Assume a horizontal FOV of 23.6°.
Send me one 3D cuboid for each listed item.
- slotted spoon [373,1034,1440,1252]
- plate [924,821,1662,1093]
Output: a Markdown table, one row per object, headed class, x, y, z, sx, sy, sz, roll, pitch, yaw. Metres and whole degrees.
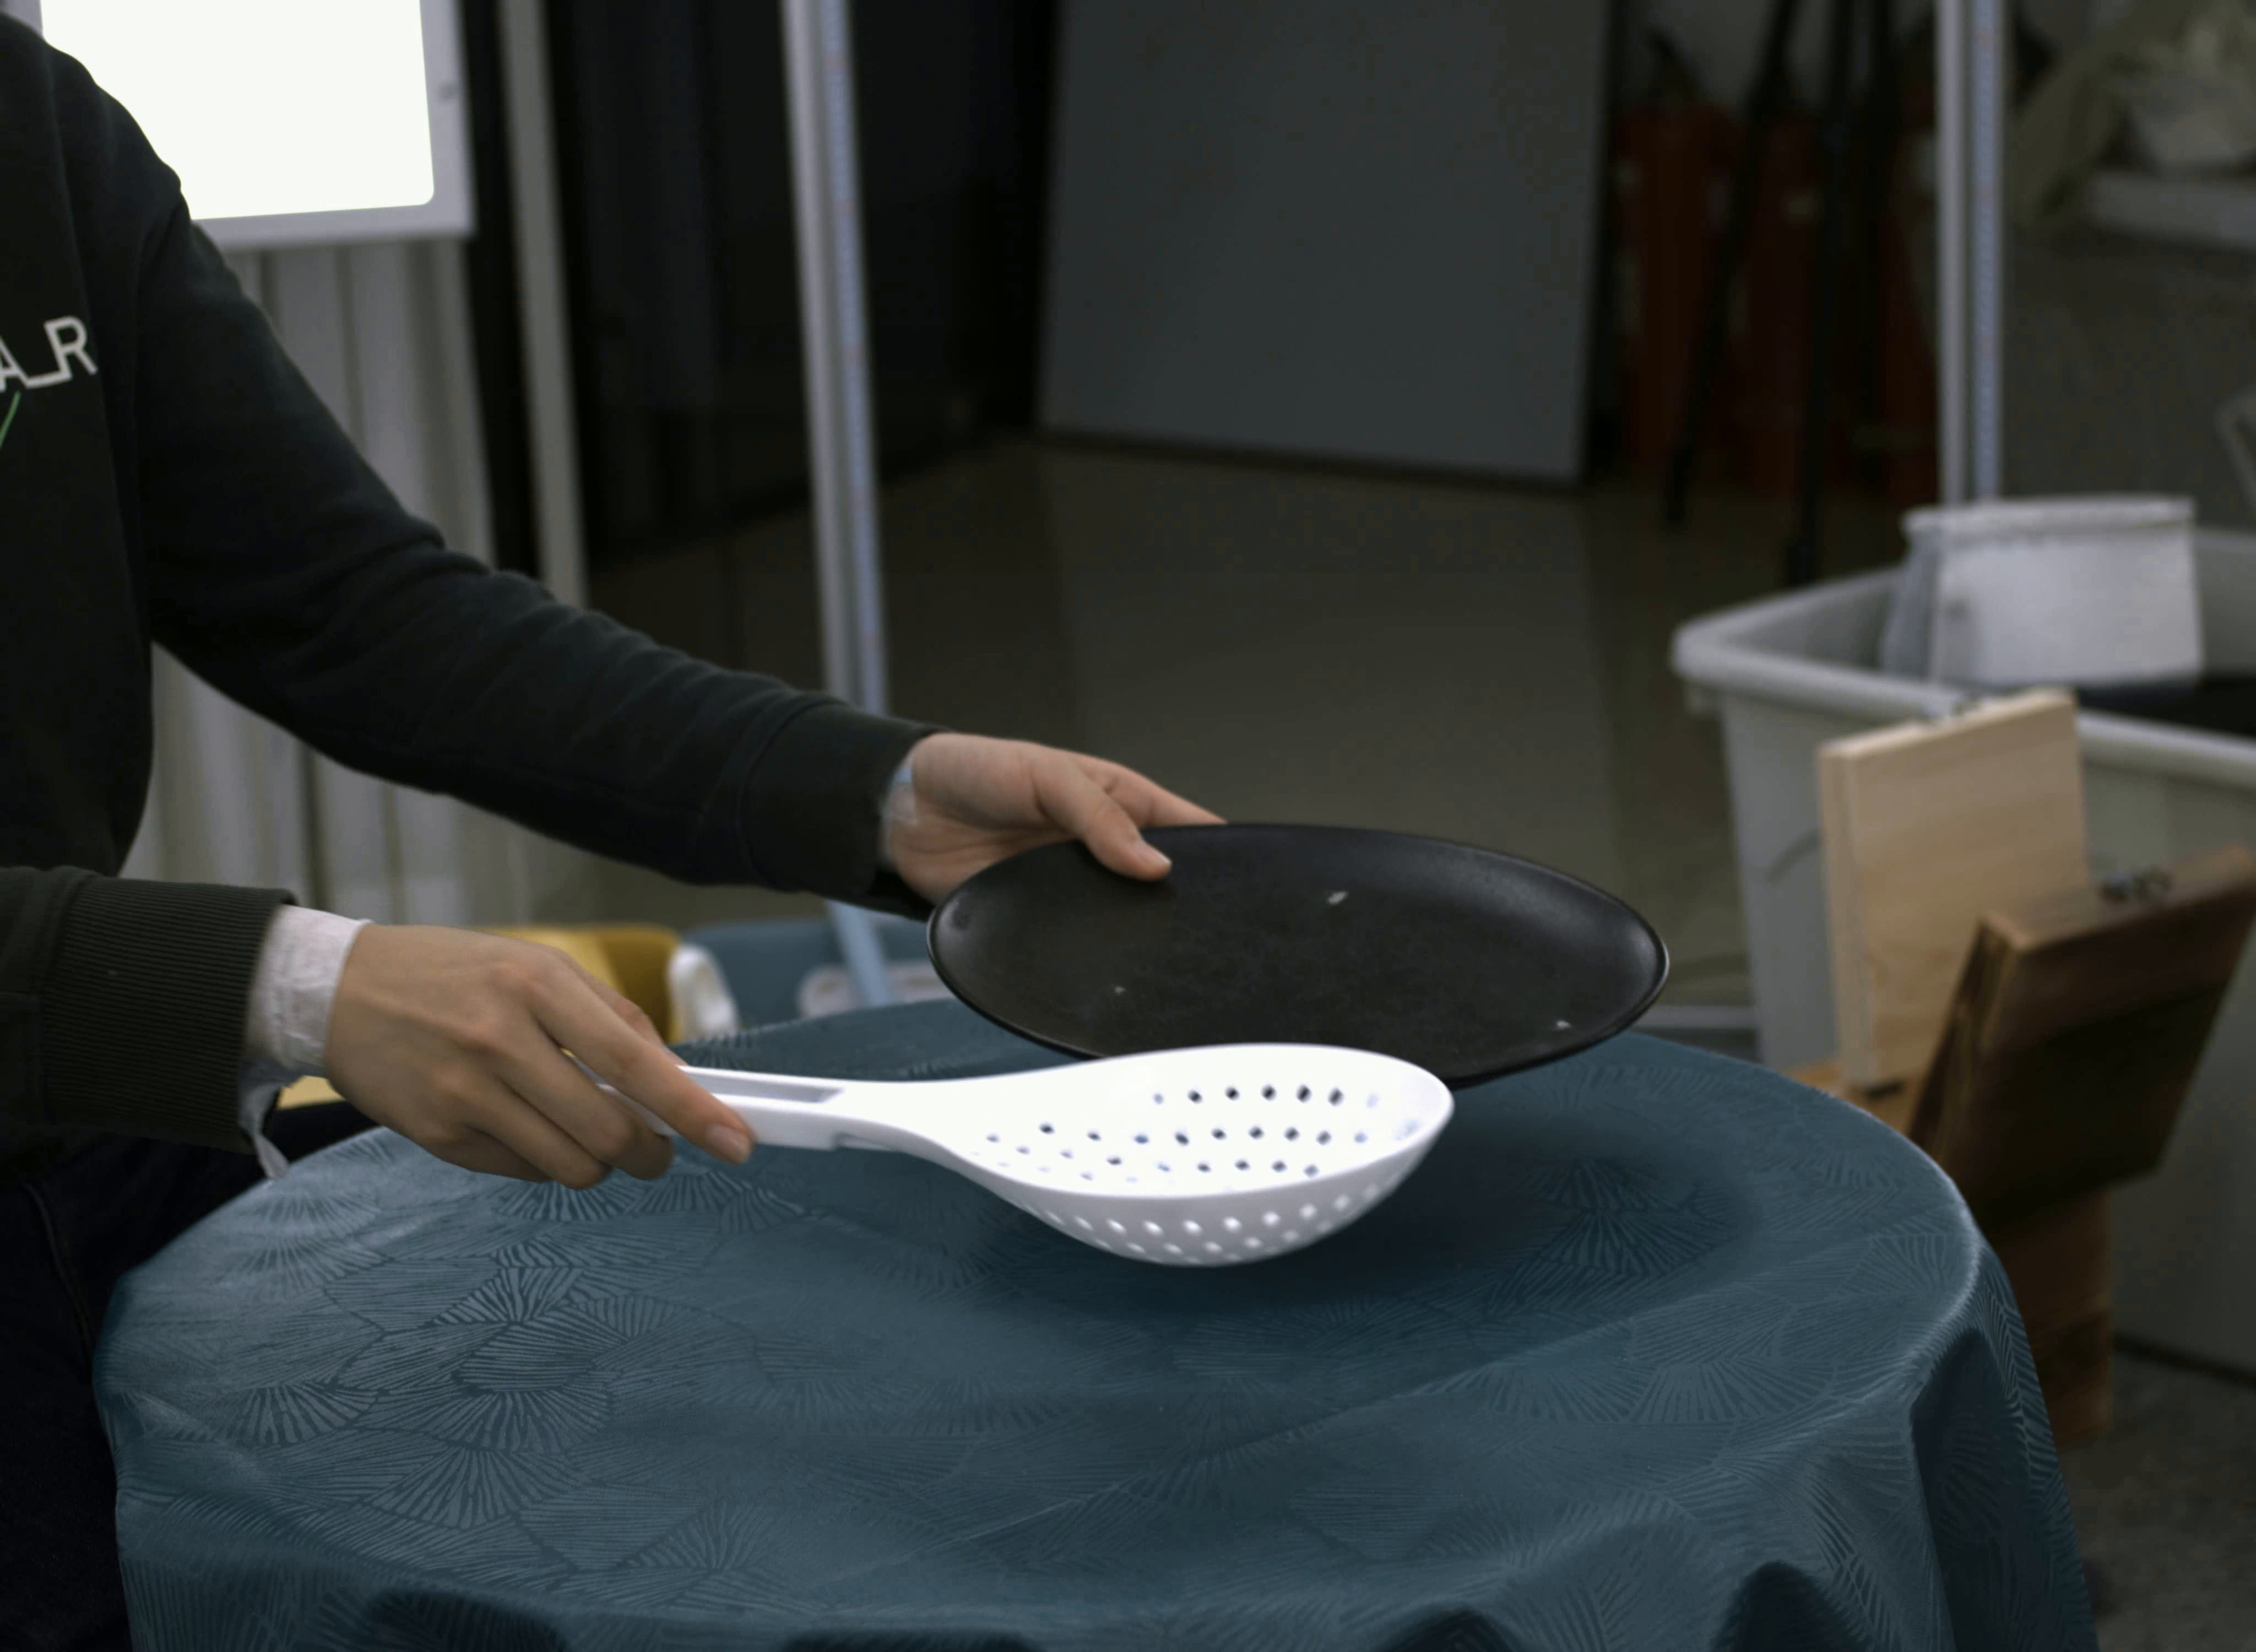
| class | x | y | z | sx | sy | sz | roll | pitch | yaw |
| --- | --- | --- | --- | --- | --- | --- | --- | --- | --- |
| slotted spoon | -0.072 | 0.081 | 1.560 | 0.351 | 0.046 | 0.134 | 7 | 18 | 29 |
| plate | 0.053 | 0.046 | 1.752 | 0.241 | 0.024 | 0.245 | 1 | 18 | -1 |
